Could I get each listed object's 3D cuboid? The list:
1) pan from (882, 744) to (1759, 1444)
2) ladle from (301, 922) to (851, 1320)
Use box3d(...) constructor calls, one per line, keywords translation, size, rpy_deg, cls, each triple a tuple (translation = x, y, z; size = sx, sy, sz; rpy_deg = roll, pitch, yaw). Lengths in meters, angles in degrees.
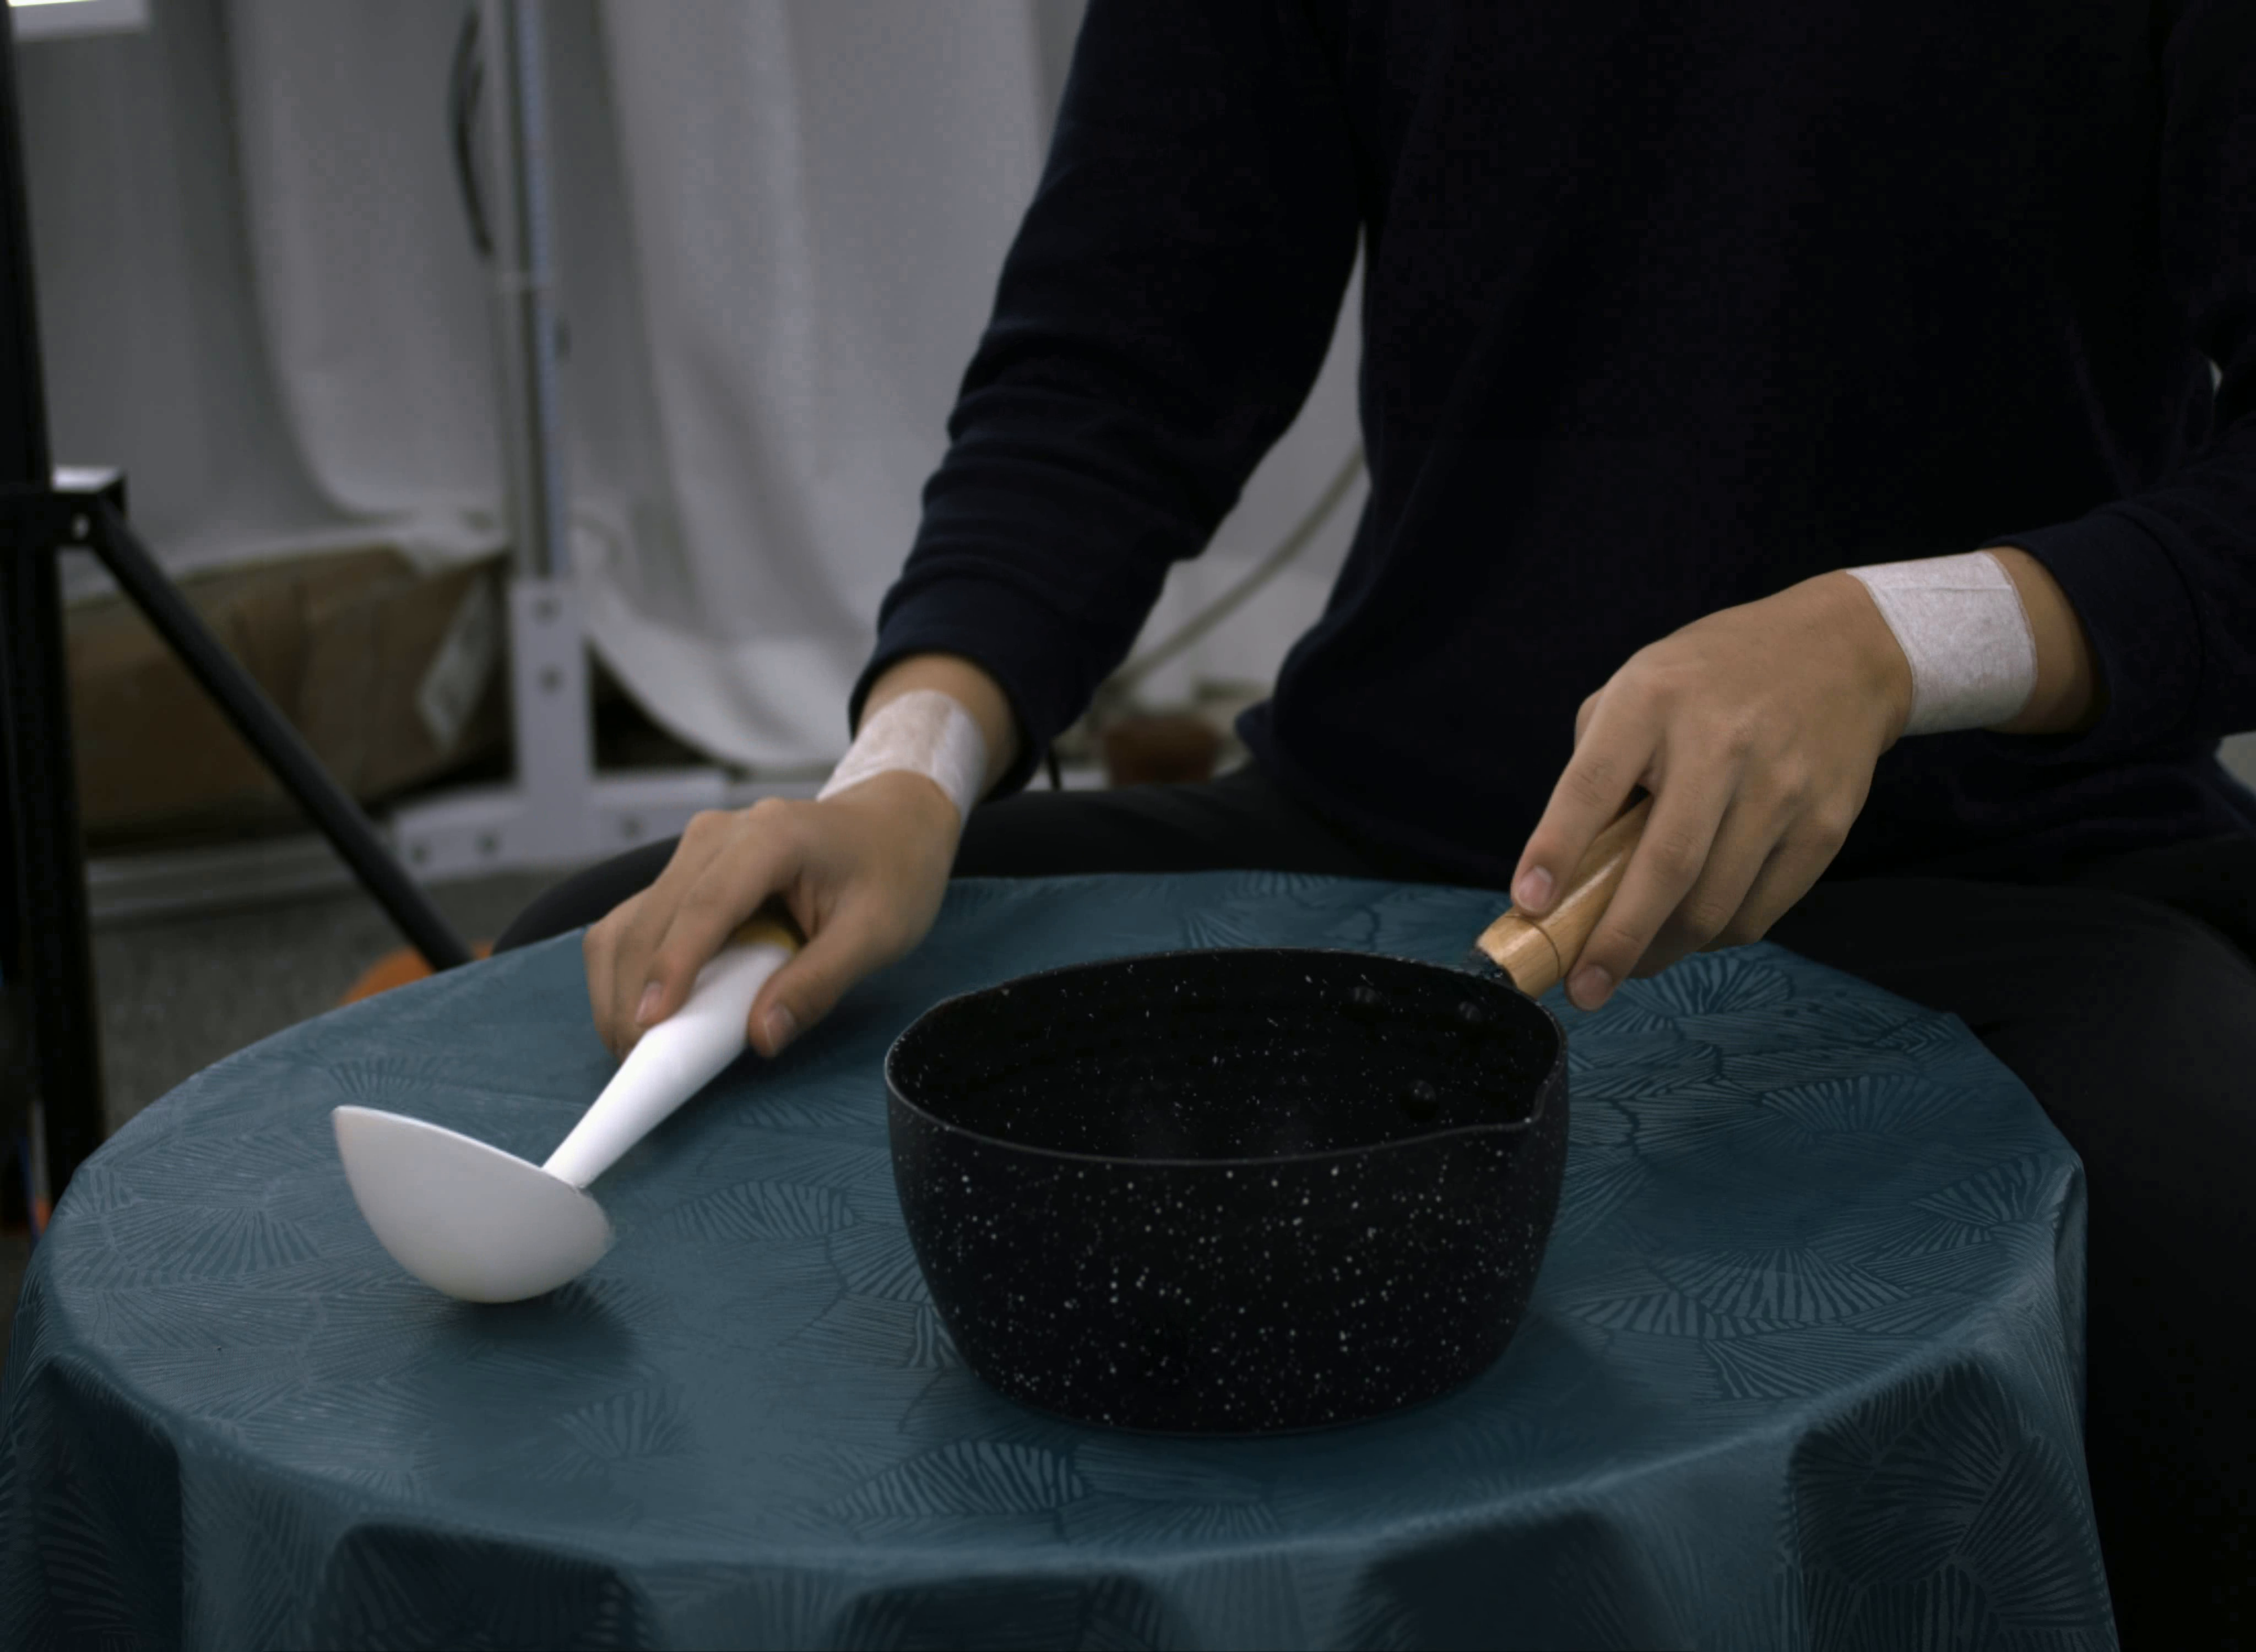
box3d(translation=(0.076, 0.070, 1.483), size=(0.212, 0.108, 0.336), rpy_deg=(9, 21, 38), cls="pan")
box3d(translation=(-0.149, 0.073, 1.584), size=(0.091, 0.070, 0.290), rpy_deg=(13, 23, 17), cls="ladle")
